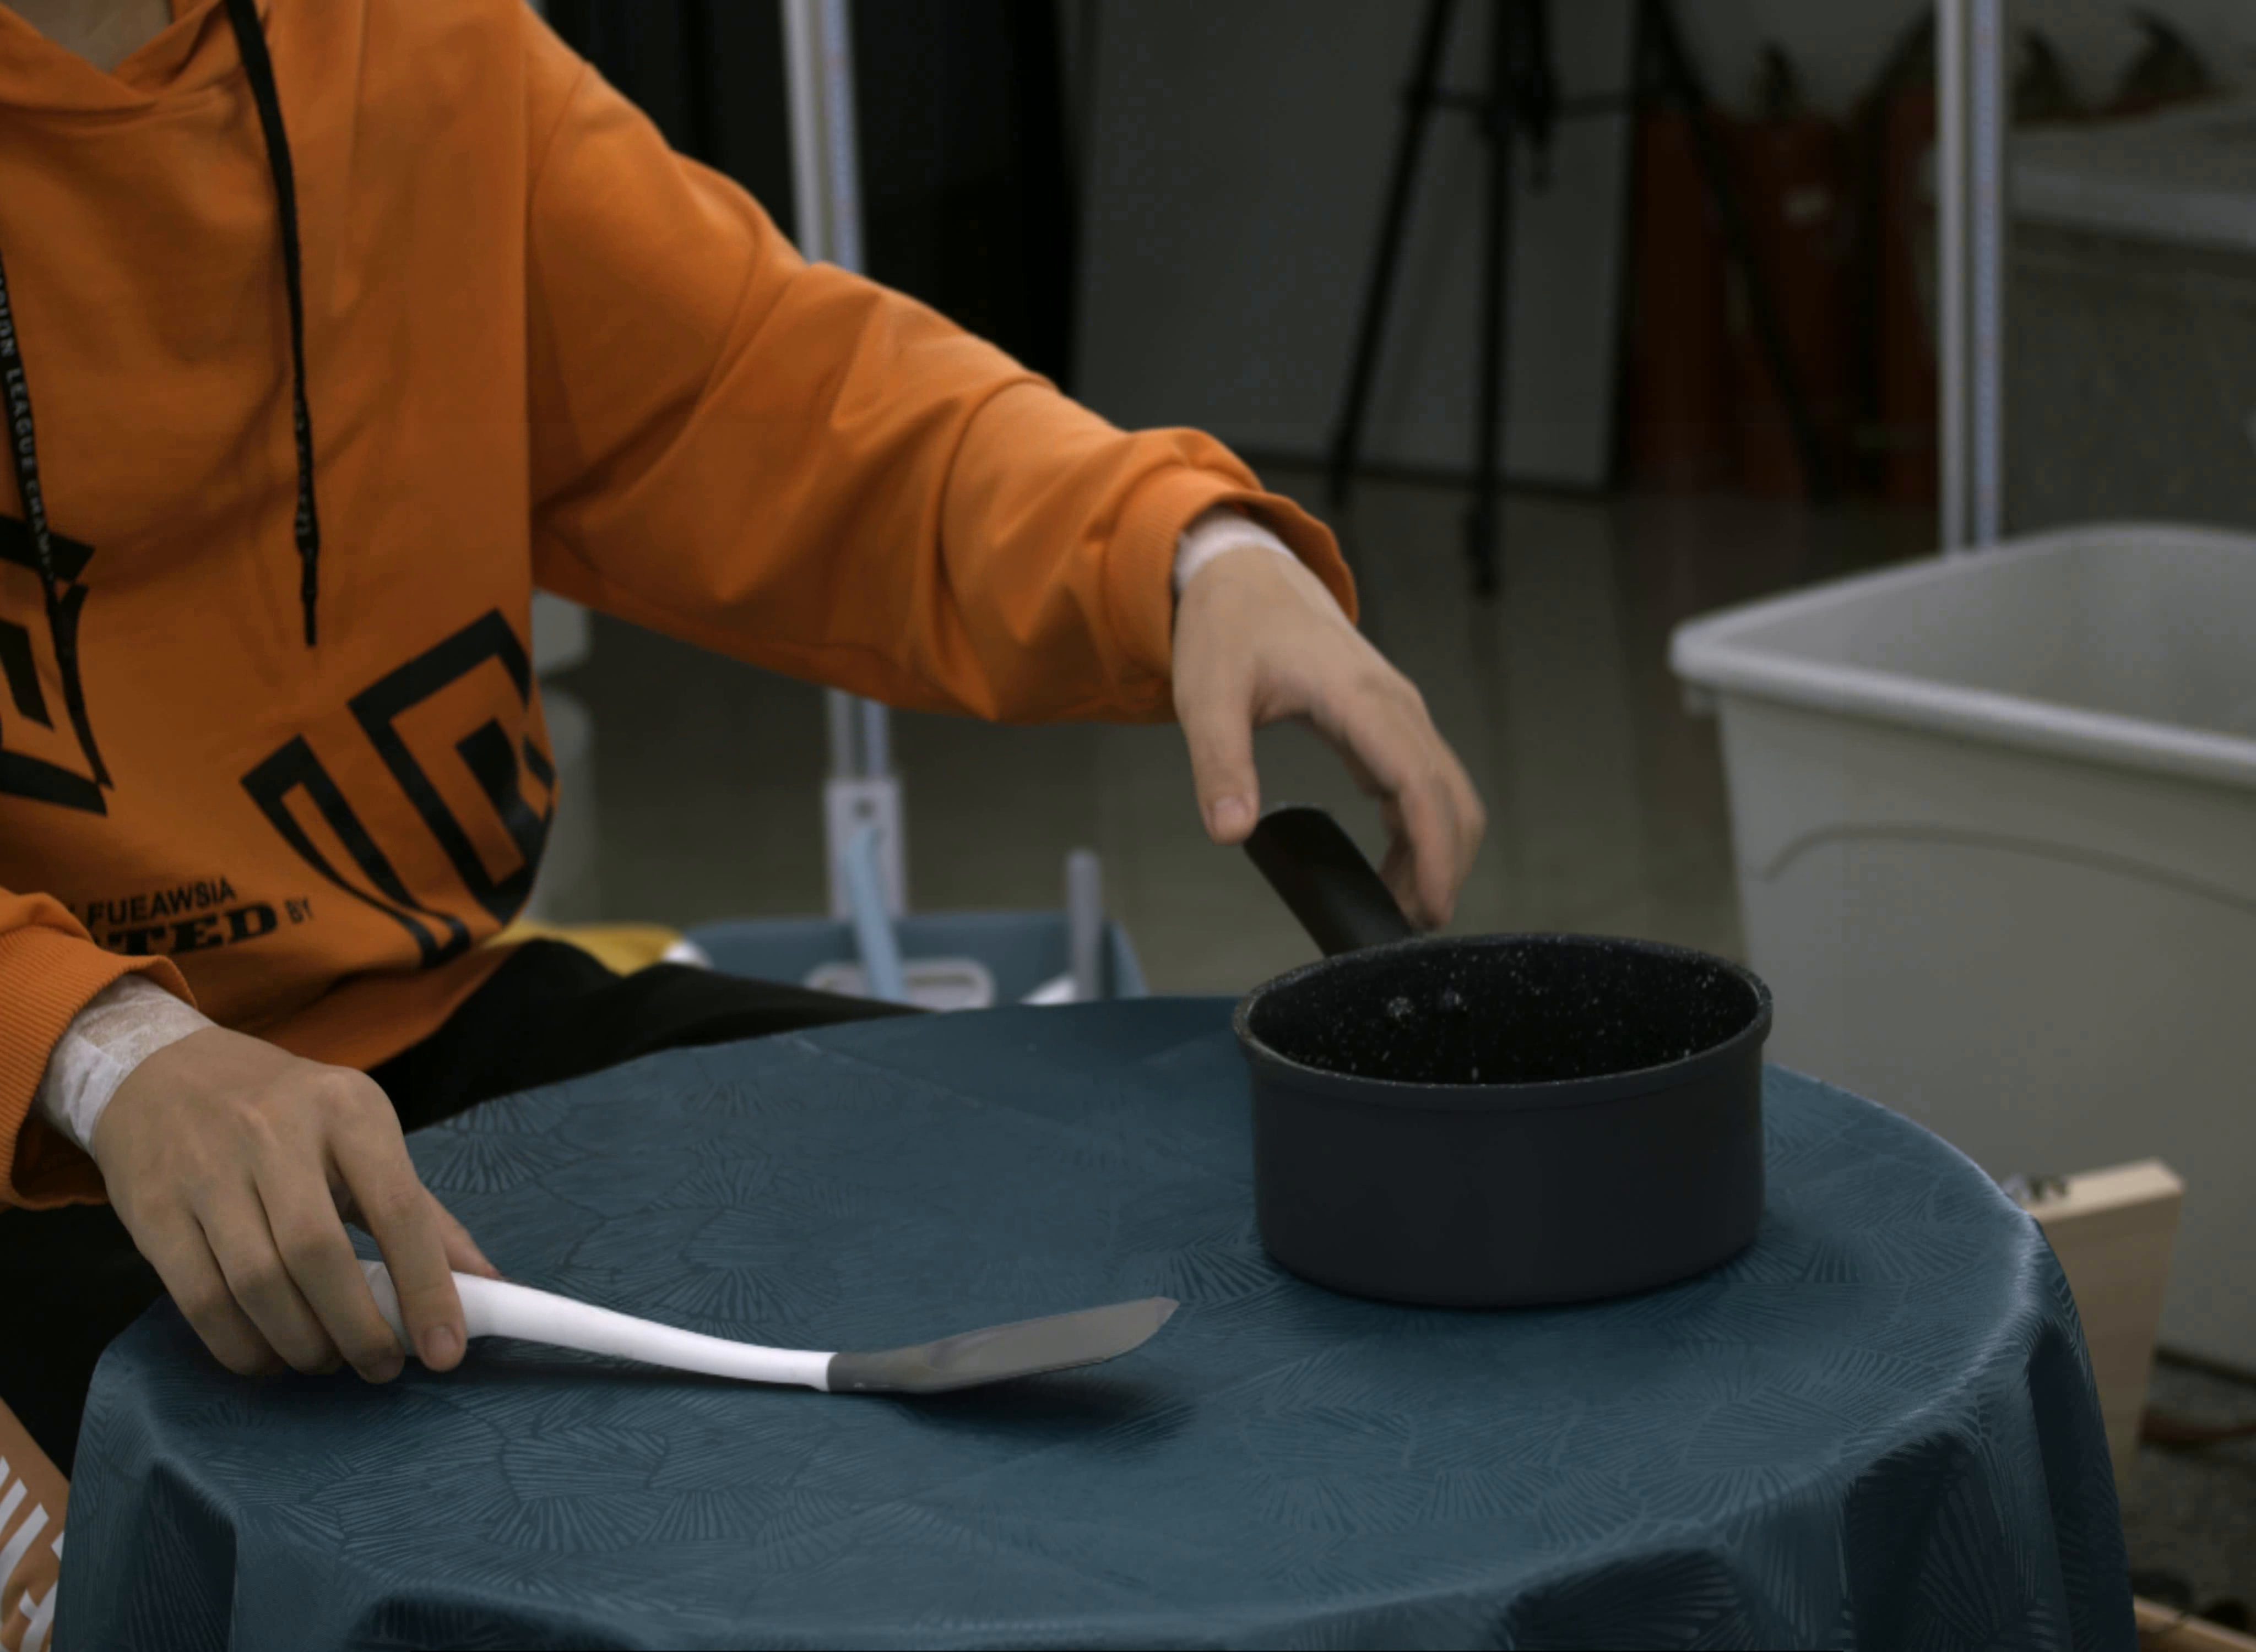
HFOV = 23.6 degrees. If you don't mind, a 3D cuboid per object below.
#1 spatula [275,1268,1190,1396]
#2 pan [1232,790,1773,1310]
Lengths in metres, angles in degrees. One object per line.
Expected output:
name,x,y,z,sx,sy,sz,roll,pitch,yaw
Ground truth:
spatula,-0.120,0.152,1.614,0.287,0.032,0.058,0,10,20
pan,0.102,0.070,1.771,0.169,0.087,0.331,-6,15,-11
